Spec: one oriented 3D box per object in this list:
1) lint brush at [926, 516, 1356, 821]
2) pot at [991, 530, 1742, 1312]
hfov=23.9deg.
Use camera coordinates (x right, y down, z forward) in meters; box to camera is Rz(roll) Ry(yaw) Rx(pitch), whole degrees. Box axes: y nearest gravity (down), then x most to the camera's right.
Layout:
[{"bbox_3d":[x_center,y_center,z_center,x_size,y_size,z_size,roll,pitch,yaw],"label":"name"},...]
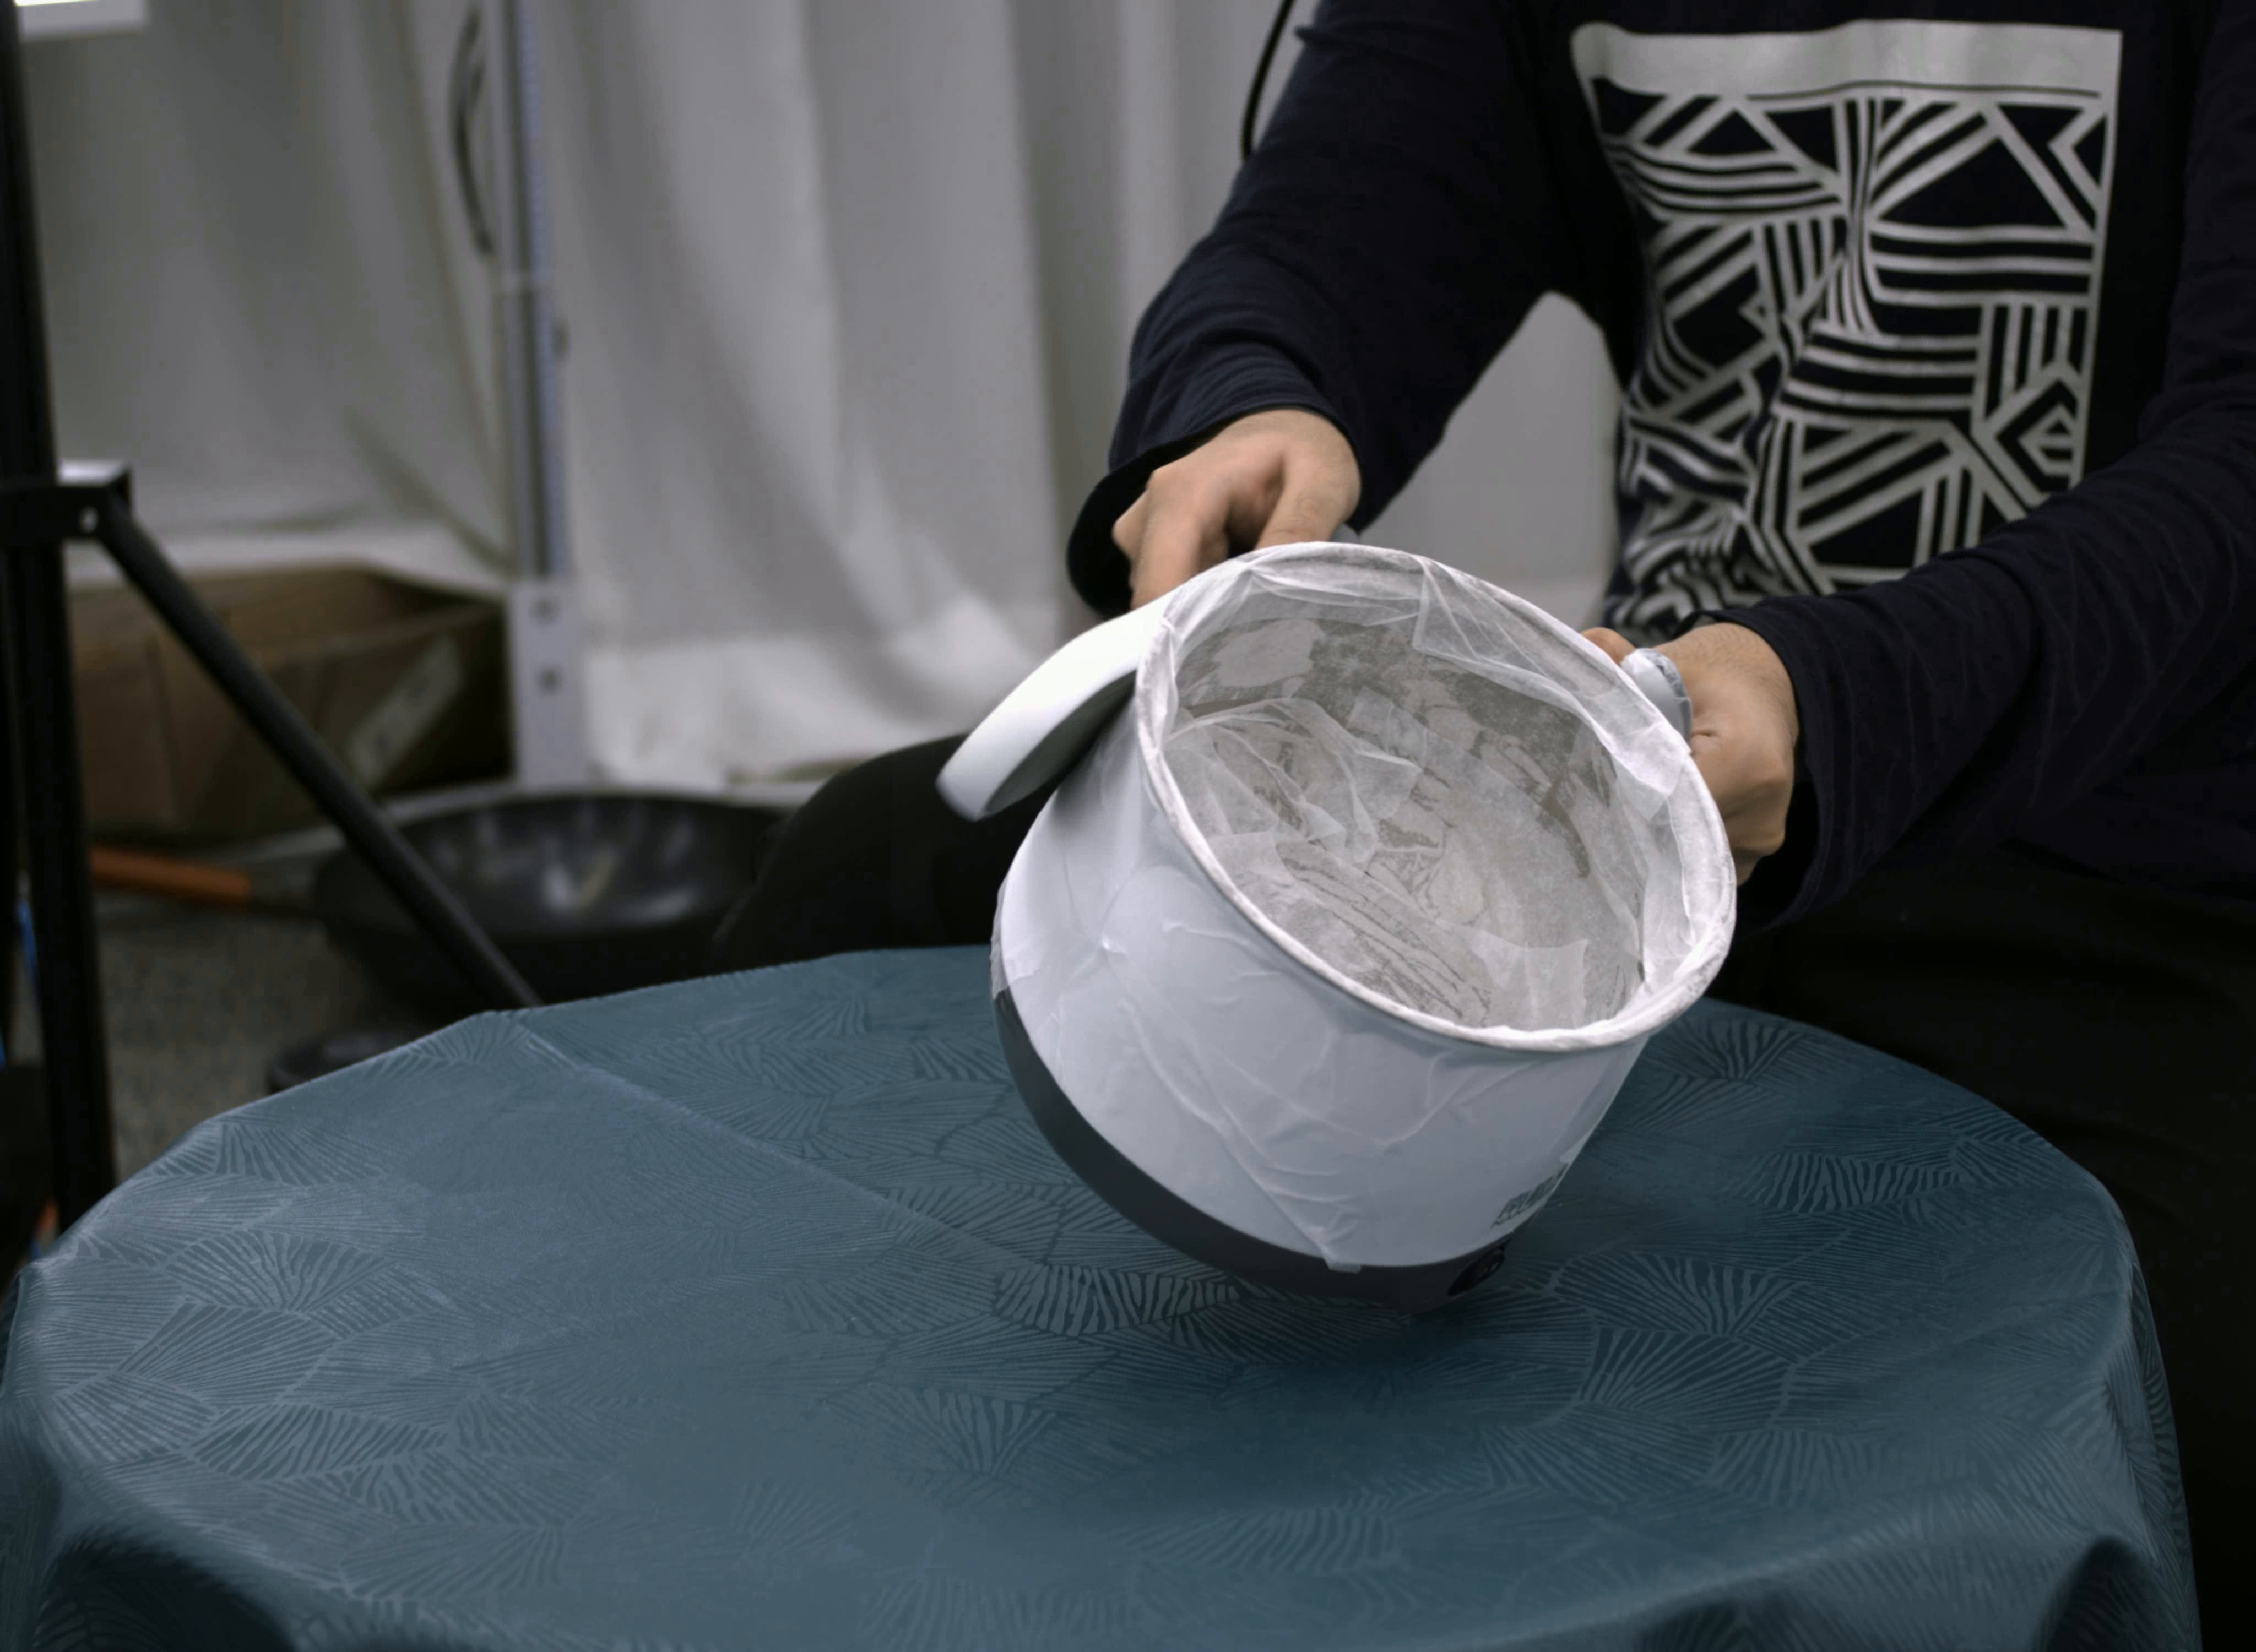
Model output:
[{"bbox_3d":[0.012,-0.054,1.530,0.021,0.060,0.305,40,23,7],"label":"lint brush"},{"bbox_3d":[0.078,0.019,1.467,0.229,0.137,0.181,-28,69,-42],"label":"pot"}]
